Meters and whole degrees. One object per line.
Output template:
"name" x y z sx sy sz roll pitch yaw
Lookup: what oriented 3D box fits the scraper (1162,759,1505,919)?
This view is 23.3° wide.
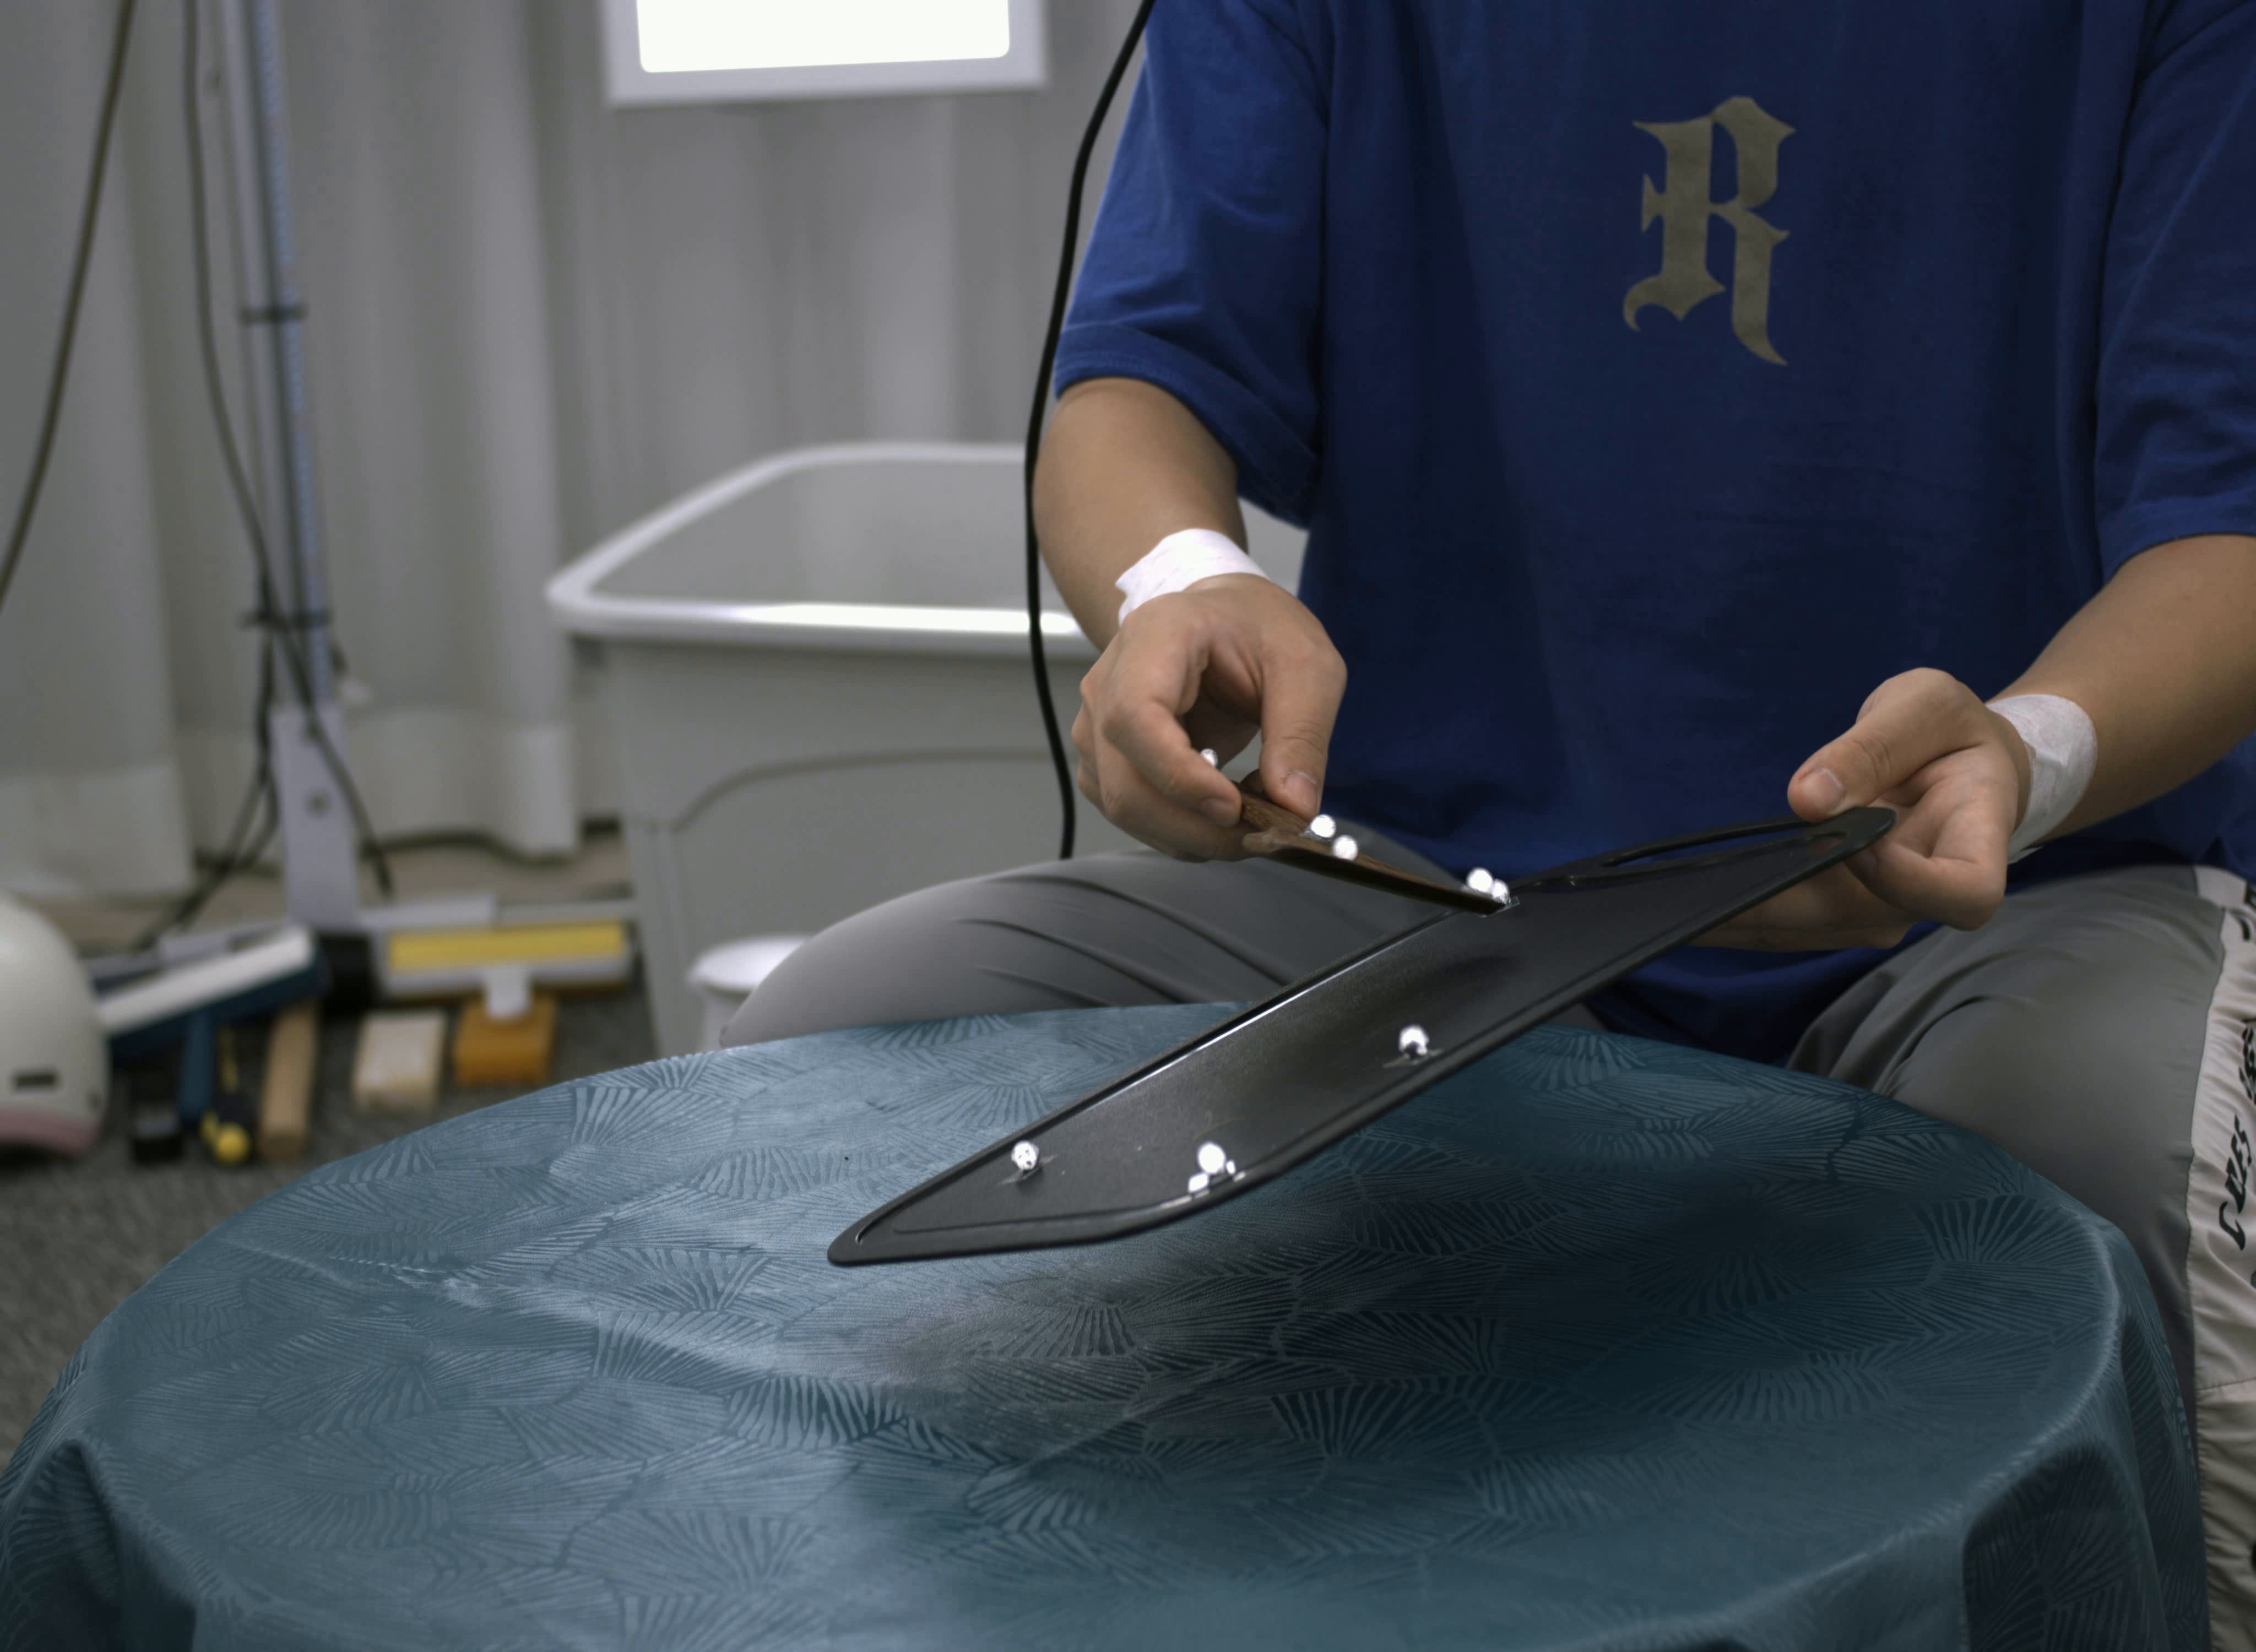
"scraper" 0.051 0.001 1.690 0.075 0.011 0.212 17 5 -18

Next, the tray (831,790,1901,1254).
"tray" 0.075 0.053 1.589 0.325 0.010 0.211 -27 8 -33
